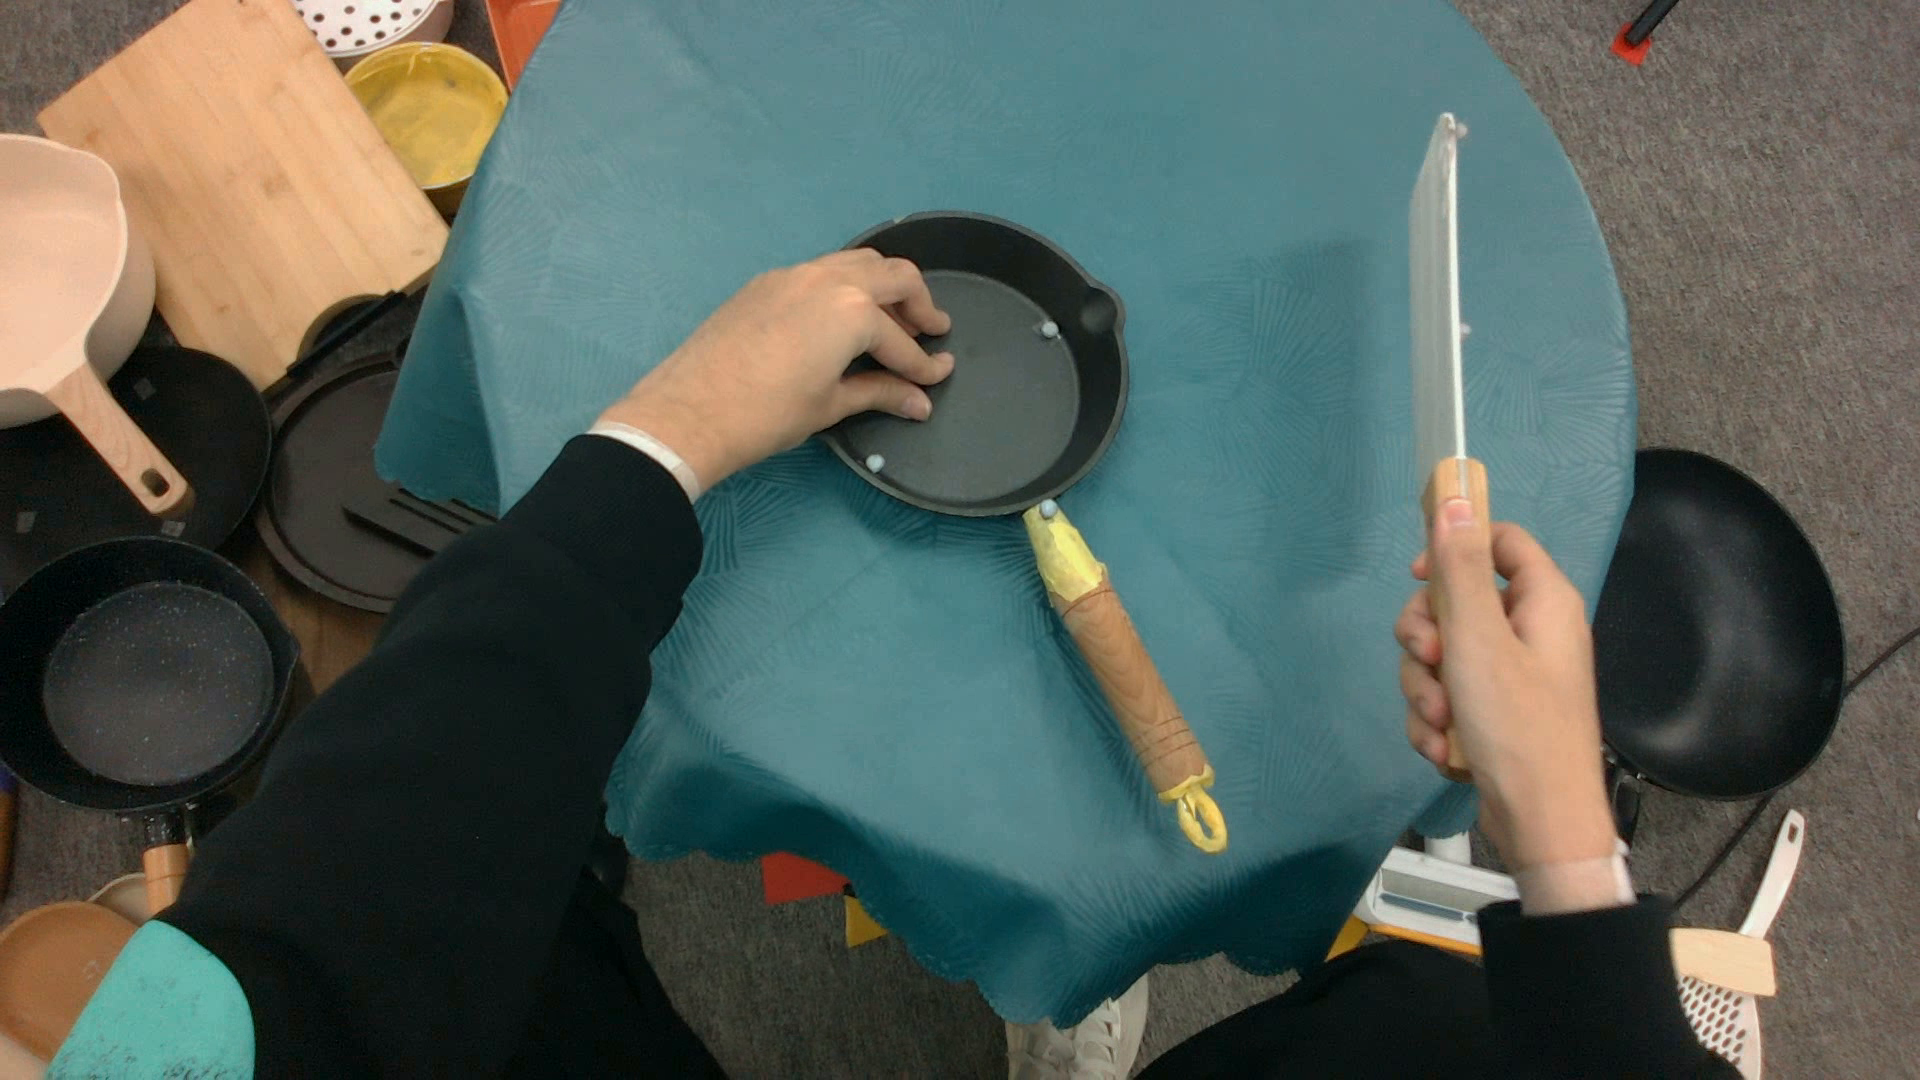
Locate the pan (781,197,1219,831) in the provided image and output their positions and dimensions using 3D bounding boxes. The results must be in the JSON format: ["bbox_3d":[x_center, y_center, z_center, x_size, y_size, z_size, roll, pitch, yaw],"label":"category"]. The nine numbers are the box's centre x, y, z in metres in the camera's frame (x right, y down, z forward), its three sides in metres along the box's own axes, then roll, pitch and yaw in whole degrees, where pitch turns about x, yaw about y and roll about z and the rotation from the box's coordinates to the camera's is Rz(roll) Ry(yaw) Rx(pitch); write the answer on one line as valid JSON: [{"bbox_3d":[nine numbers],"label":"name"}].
[{"bbox_3d":[0.030,-0.015,0.624,0.169,0.049,0.324,-21,75,-17],"label":"pan"}]

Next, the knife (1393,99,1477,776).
[{"bbox_3d":[0.204,-0.052,0.606,0.022,0.113,0.316,2,67,7],"label":"knife"}]
